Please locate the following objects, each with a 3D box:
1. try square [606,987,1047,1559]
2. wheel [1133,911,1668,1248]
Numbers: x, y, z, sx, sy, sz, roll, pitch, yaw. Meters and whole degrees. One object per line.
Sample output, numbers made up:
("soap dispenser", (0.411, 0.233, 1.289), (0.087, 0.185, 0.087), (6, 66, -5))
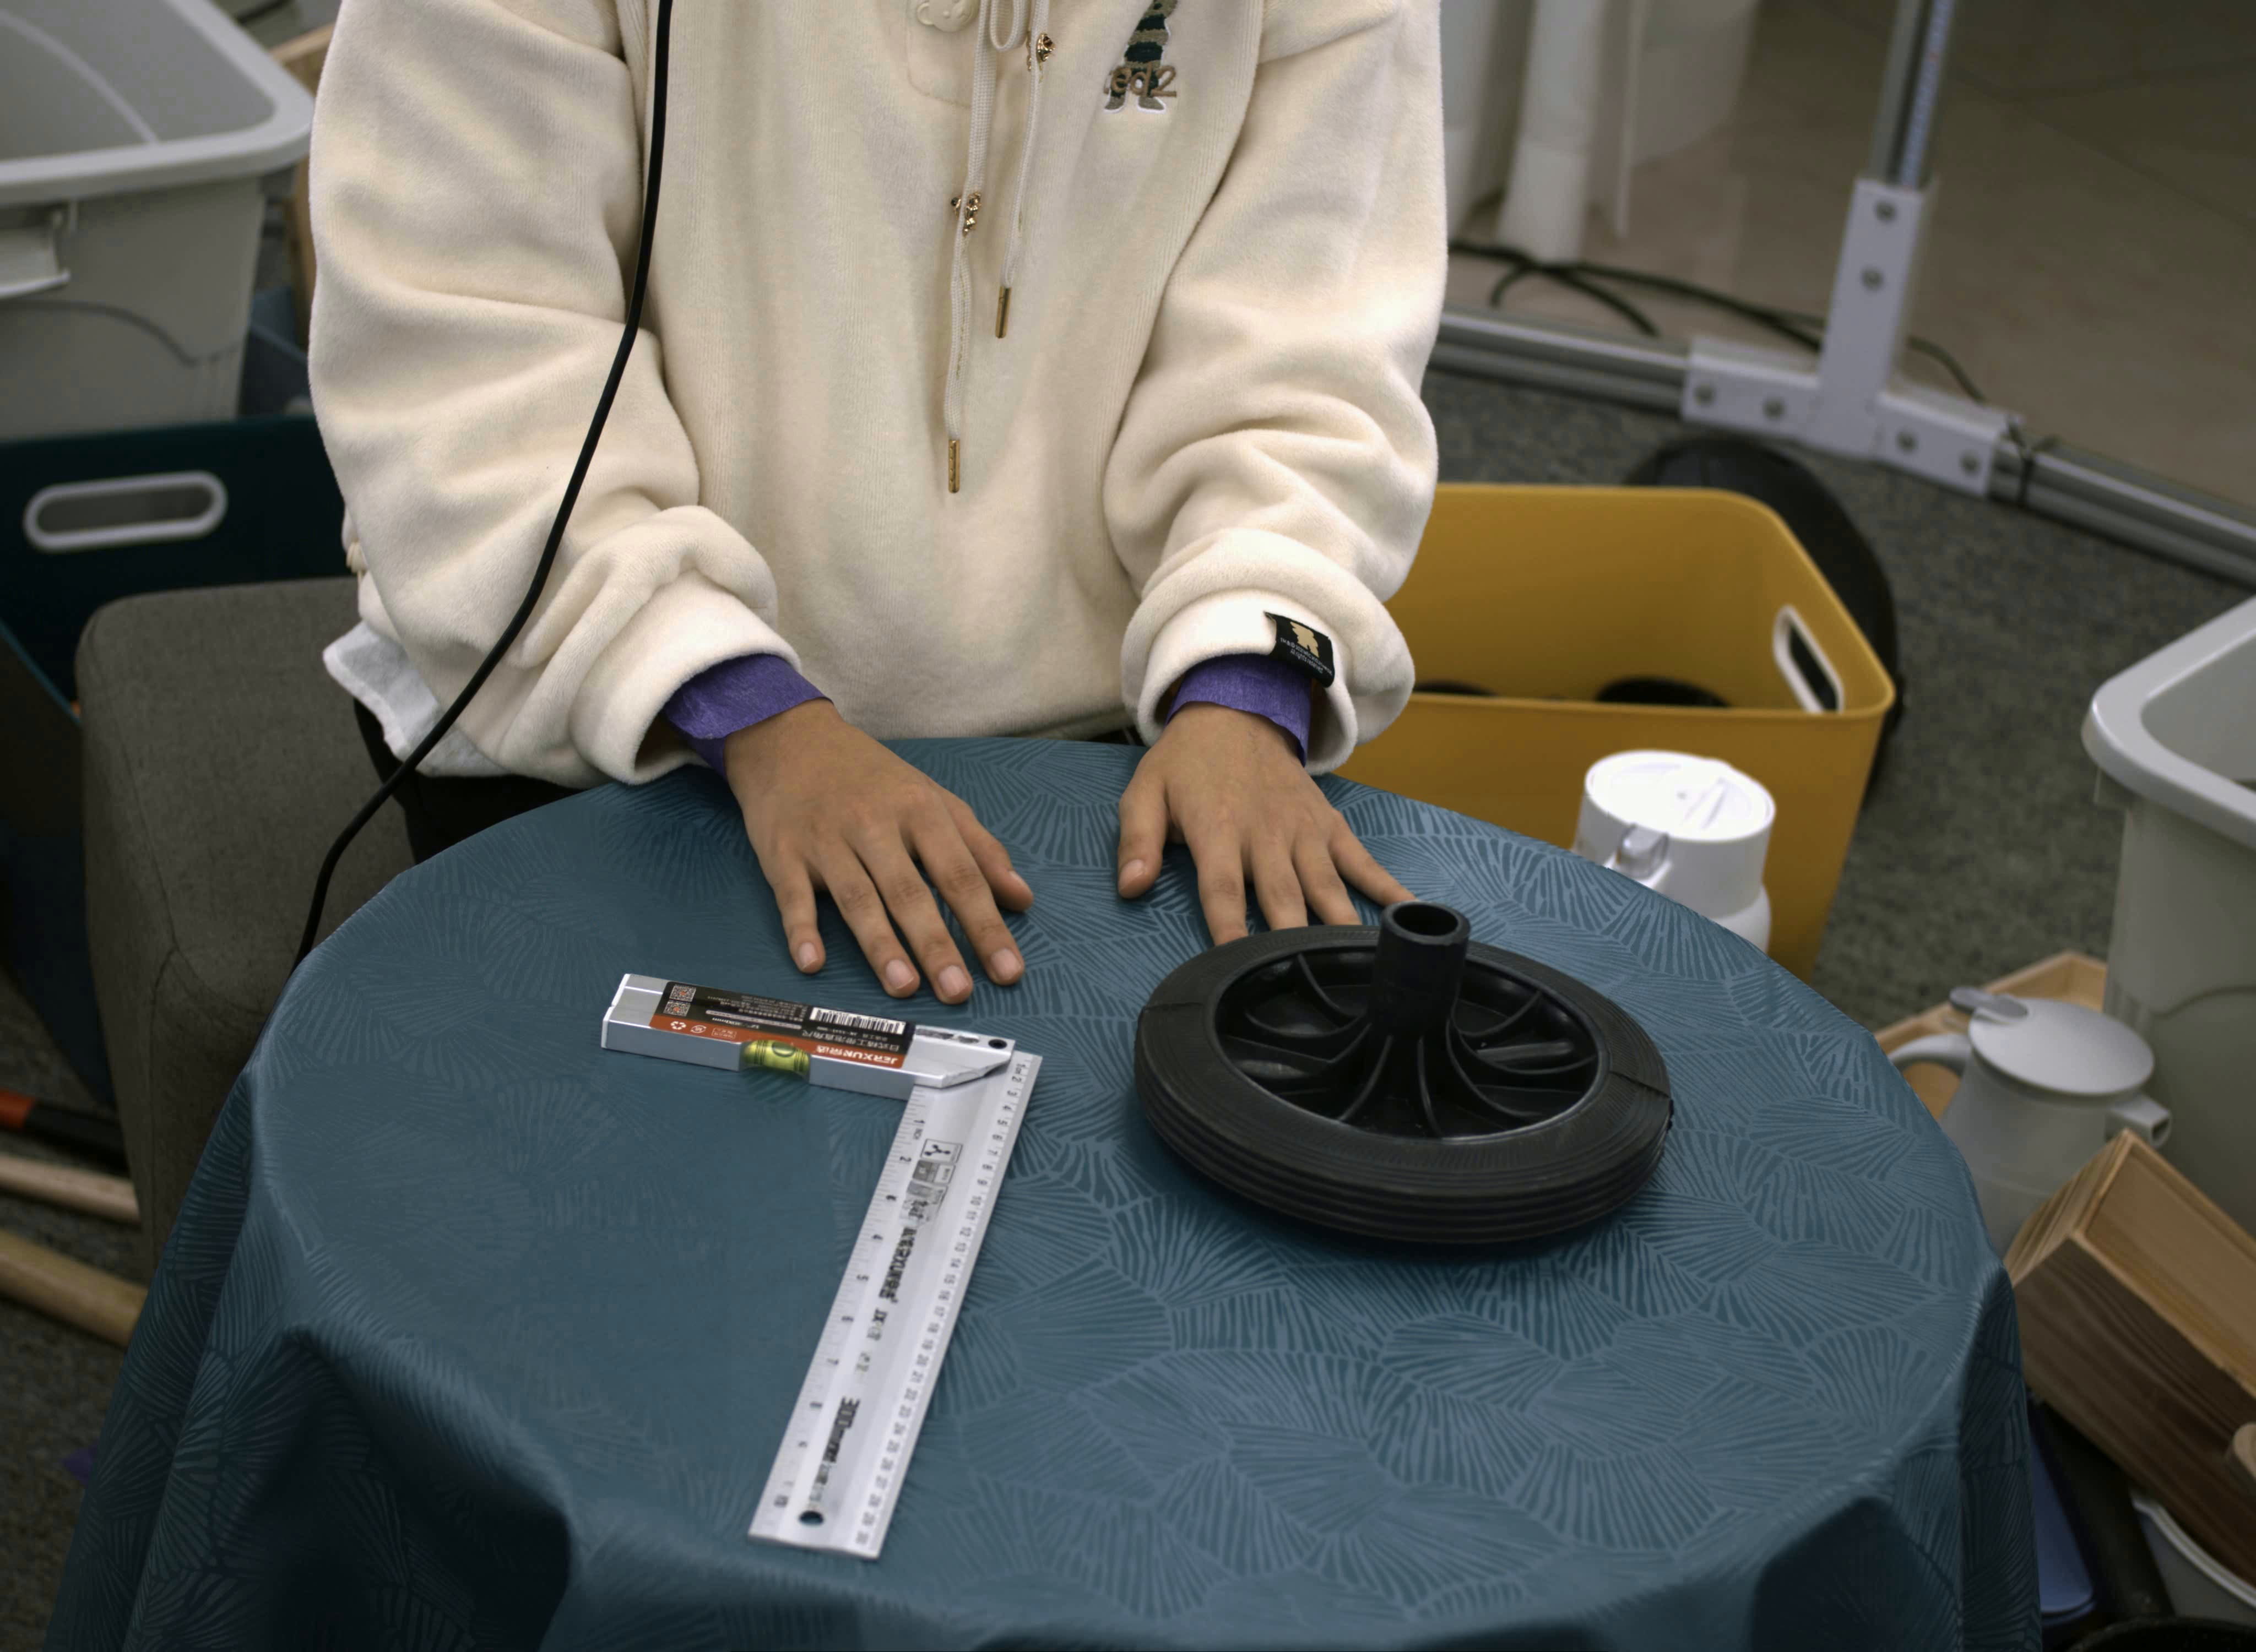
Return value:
("try square", (-0.125, 0.140, 1.738), (0.152, 0.016, 0.314), (7, 28, 7))
("wheel", (0.098, 0.071, 1.844), (0.189, 0.079, 0.189), (-20, 37, -41))
